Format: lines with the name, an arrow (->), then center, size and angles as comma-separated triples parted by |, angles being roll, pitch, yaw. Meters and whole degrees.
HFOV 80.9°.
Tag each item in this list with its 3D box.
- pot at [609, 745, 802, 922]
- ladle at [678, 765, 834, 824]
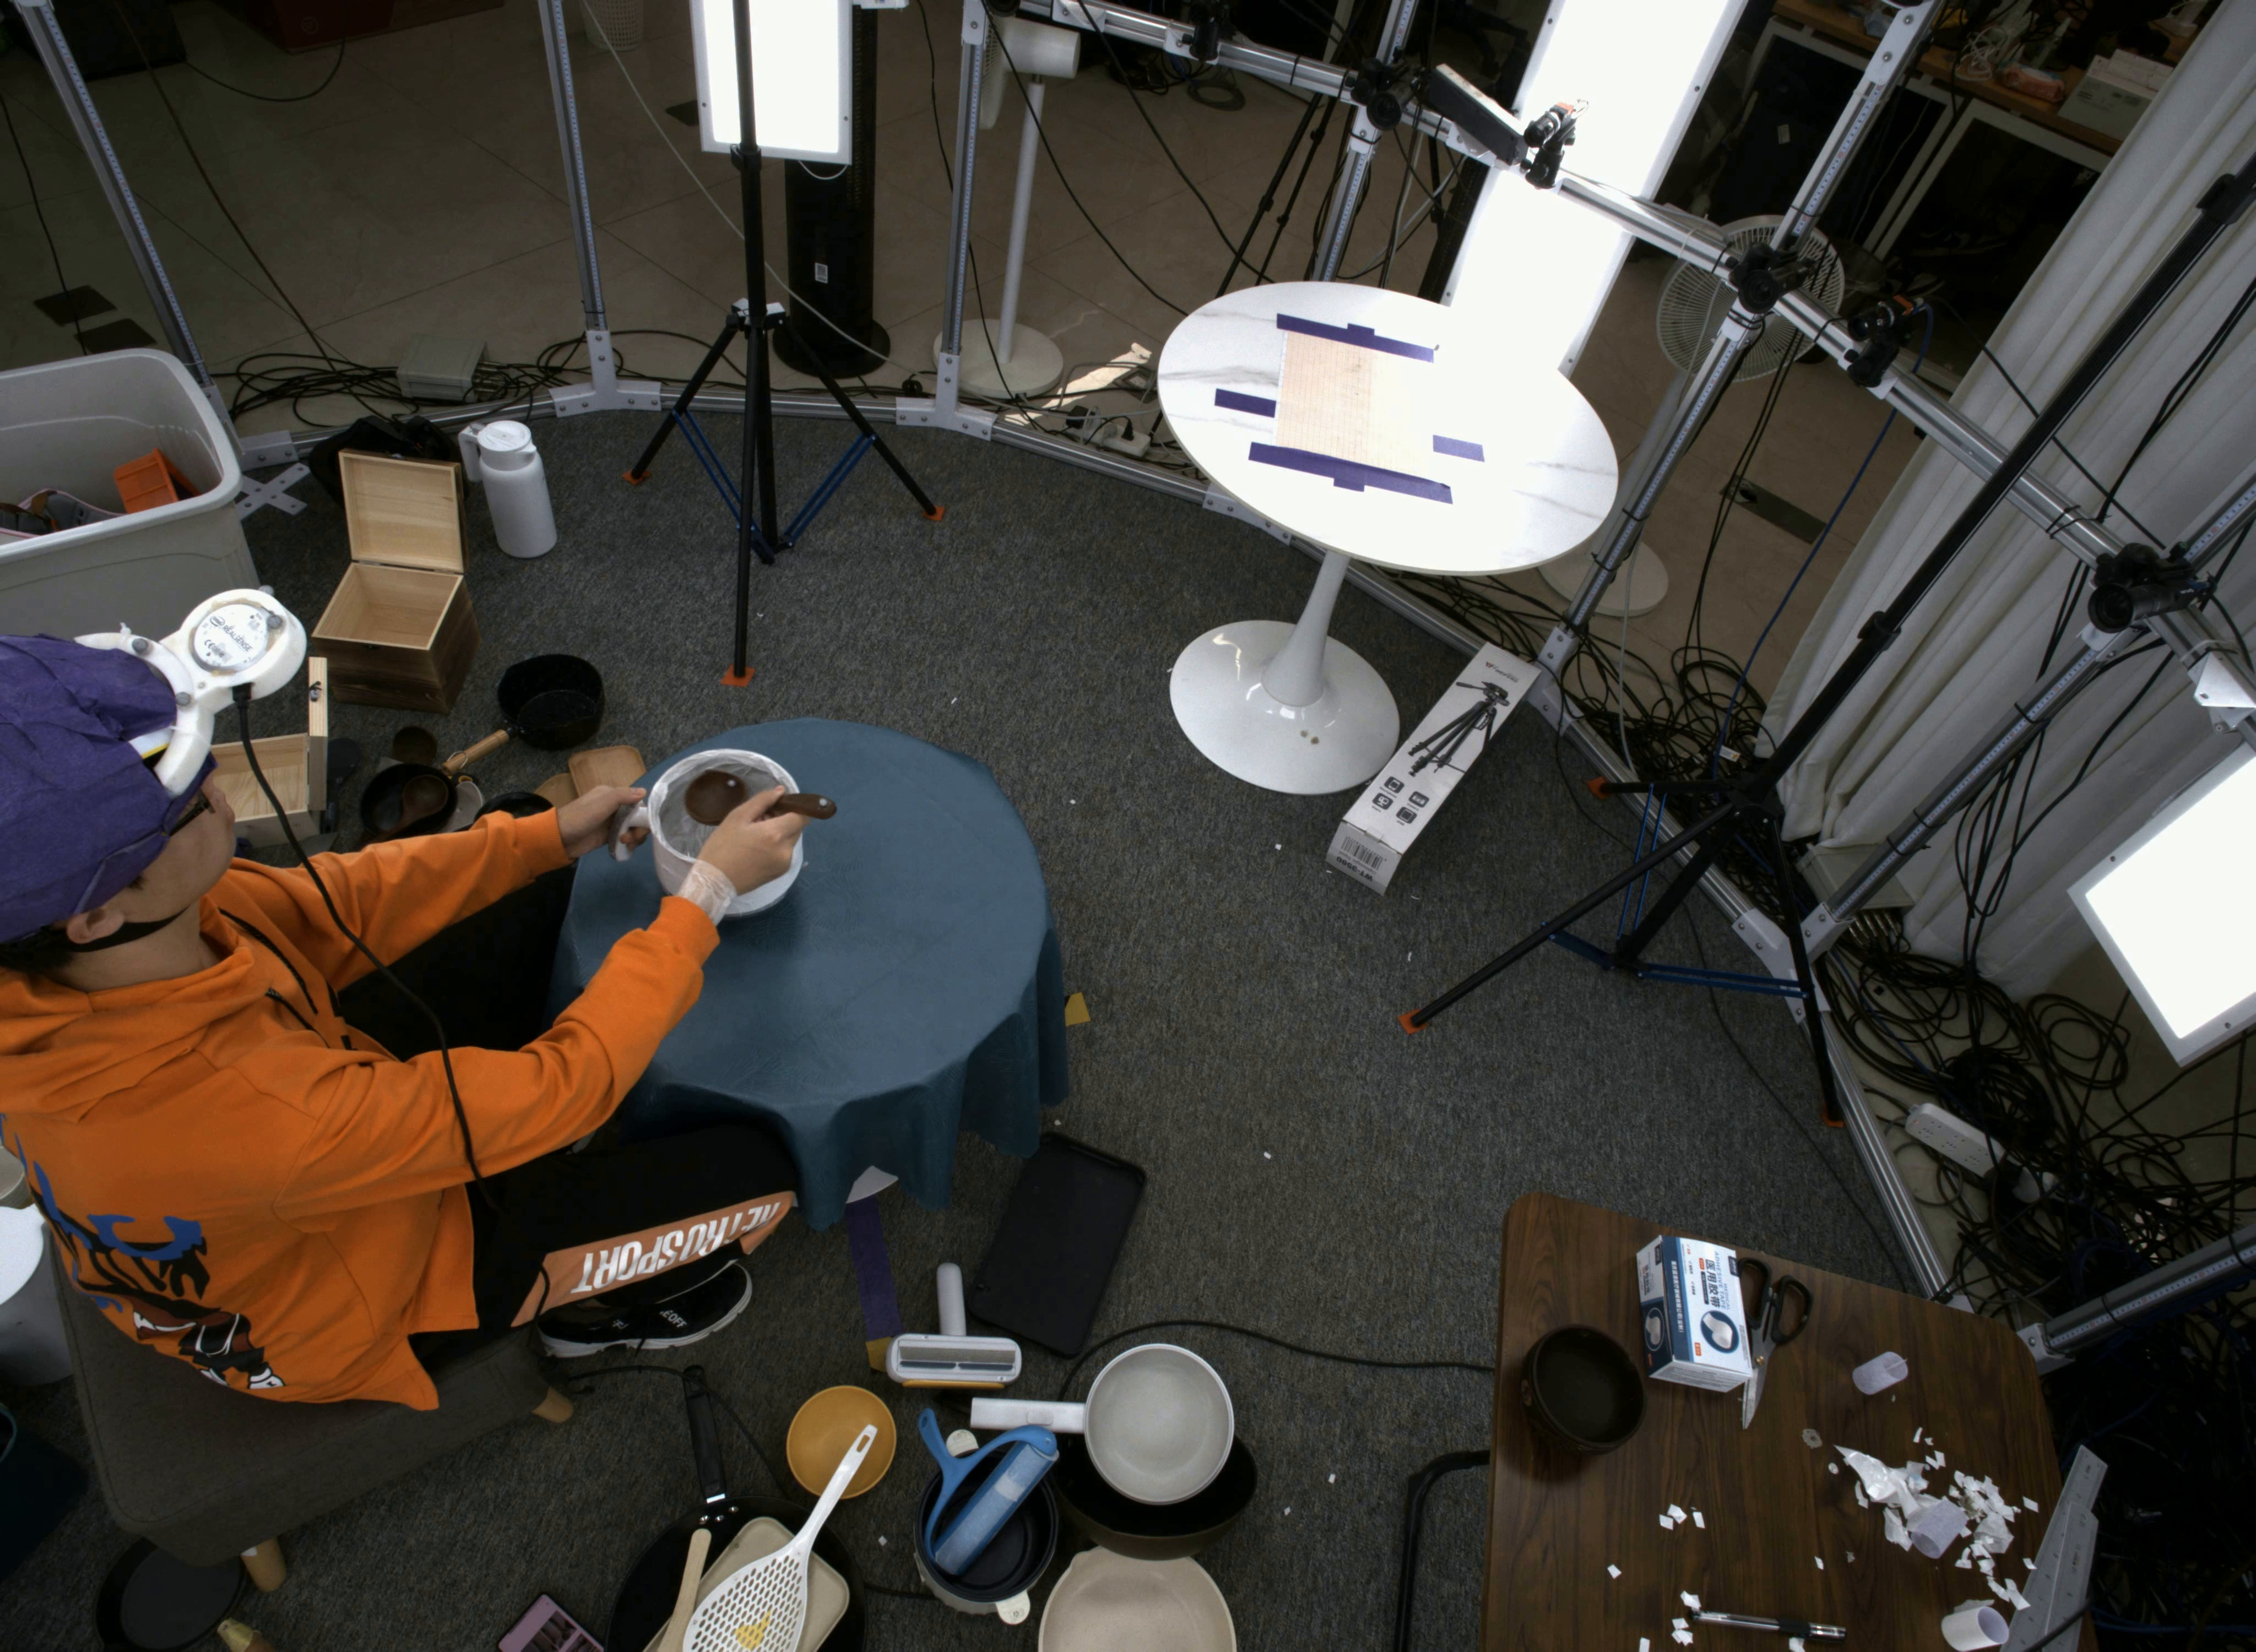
pot -> -0.508, 0.011, 1.540 | 0.234, 0.139, 0.175 | 4, 52, -12
ladle -> -0.419, -0.039, 1.441 | 0.067, 0.252, 0.076 | 51, 55, -31
